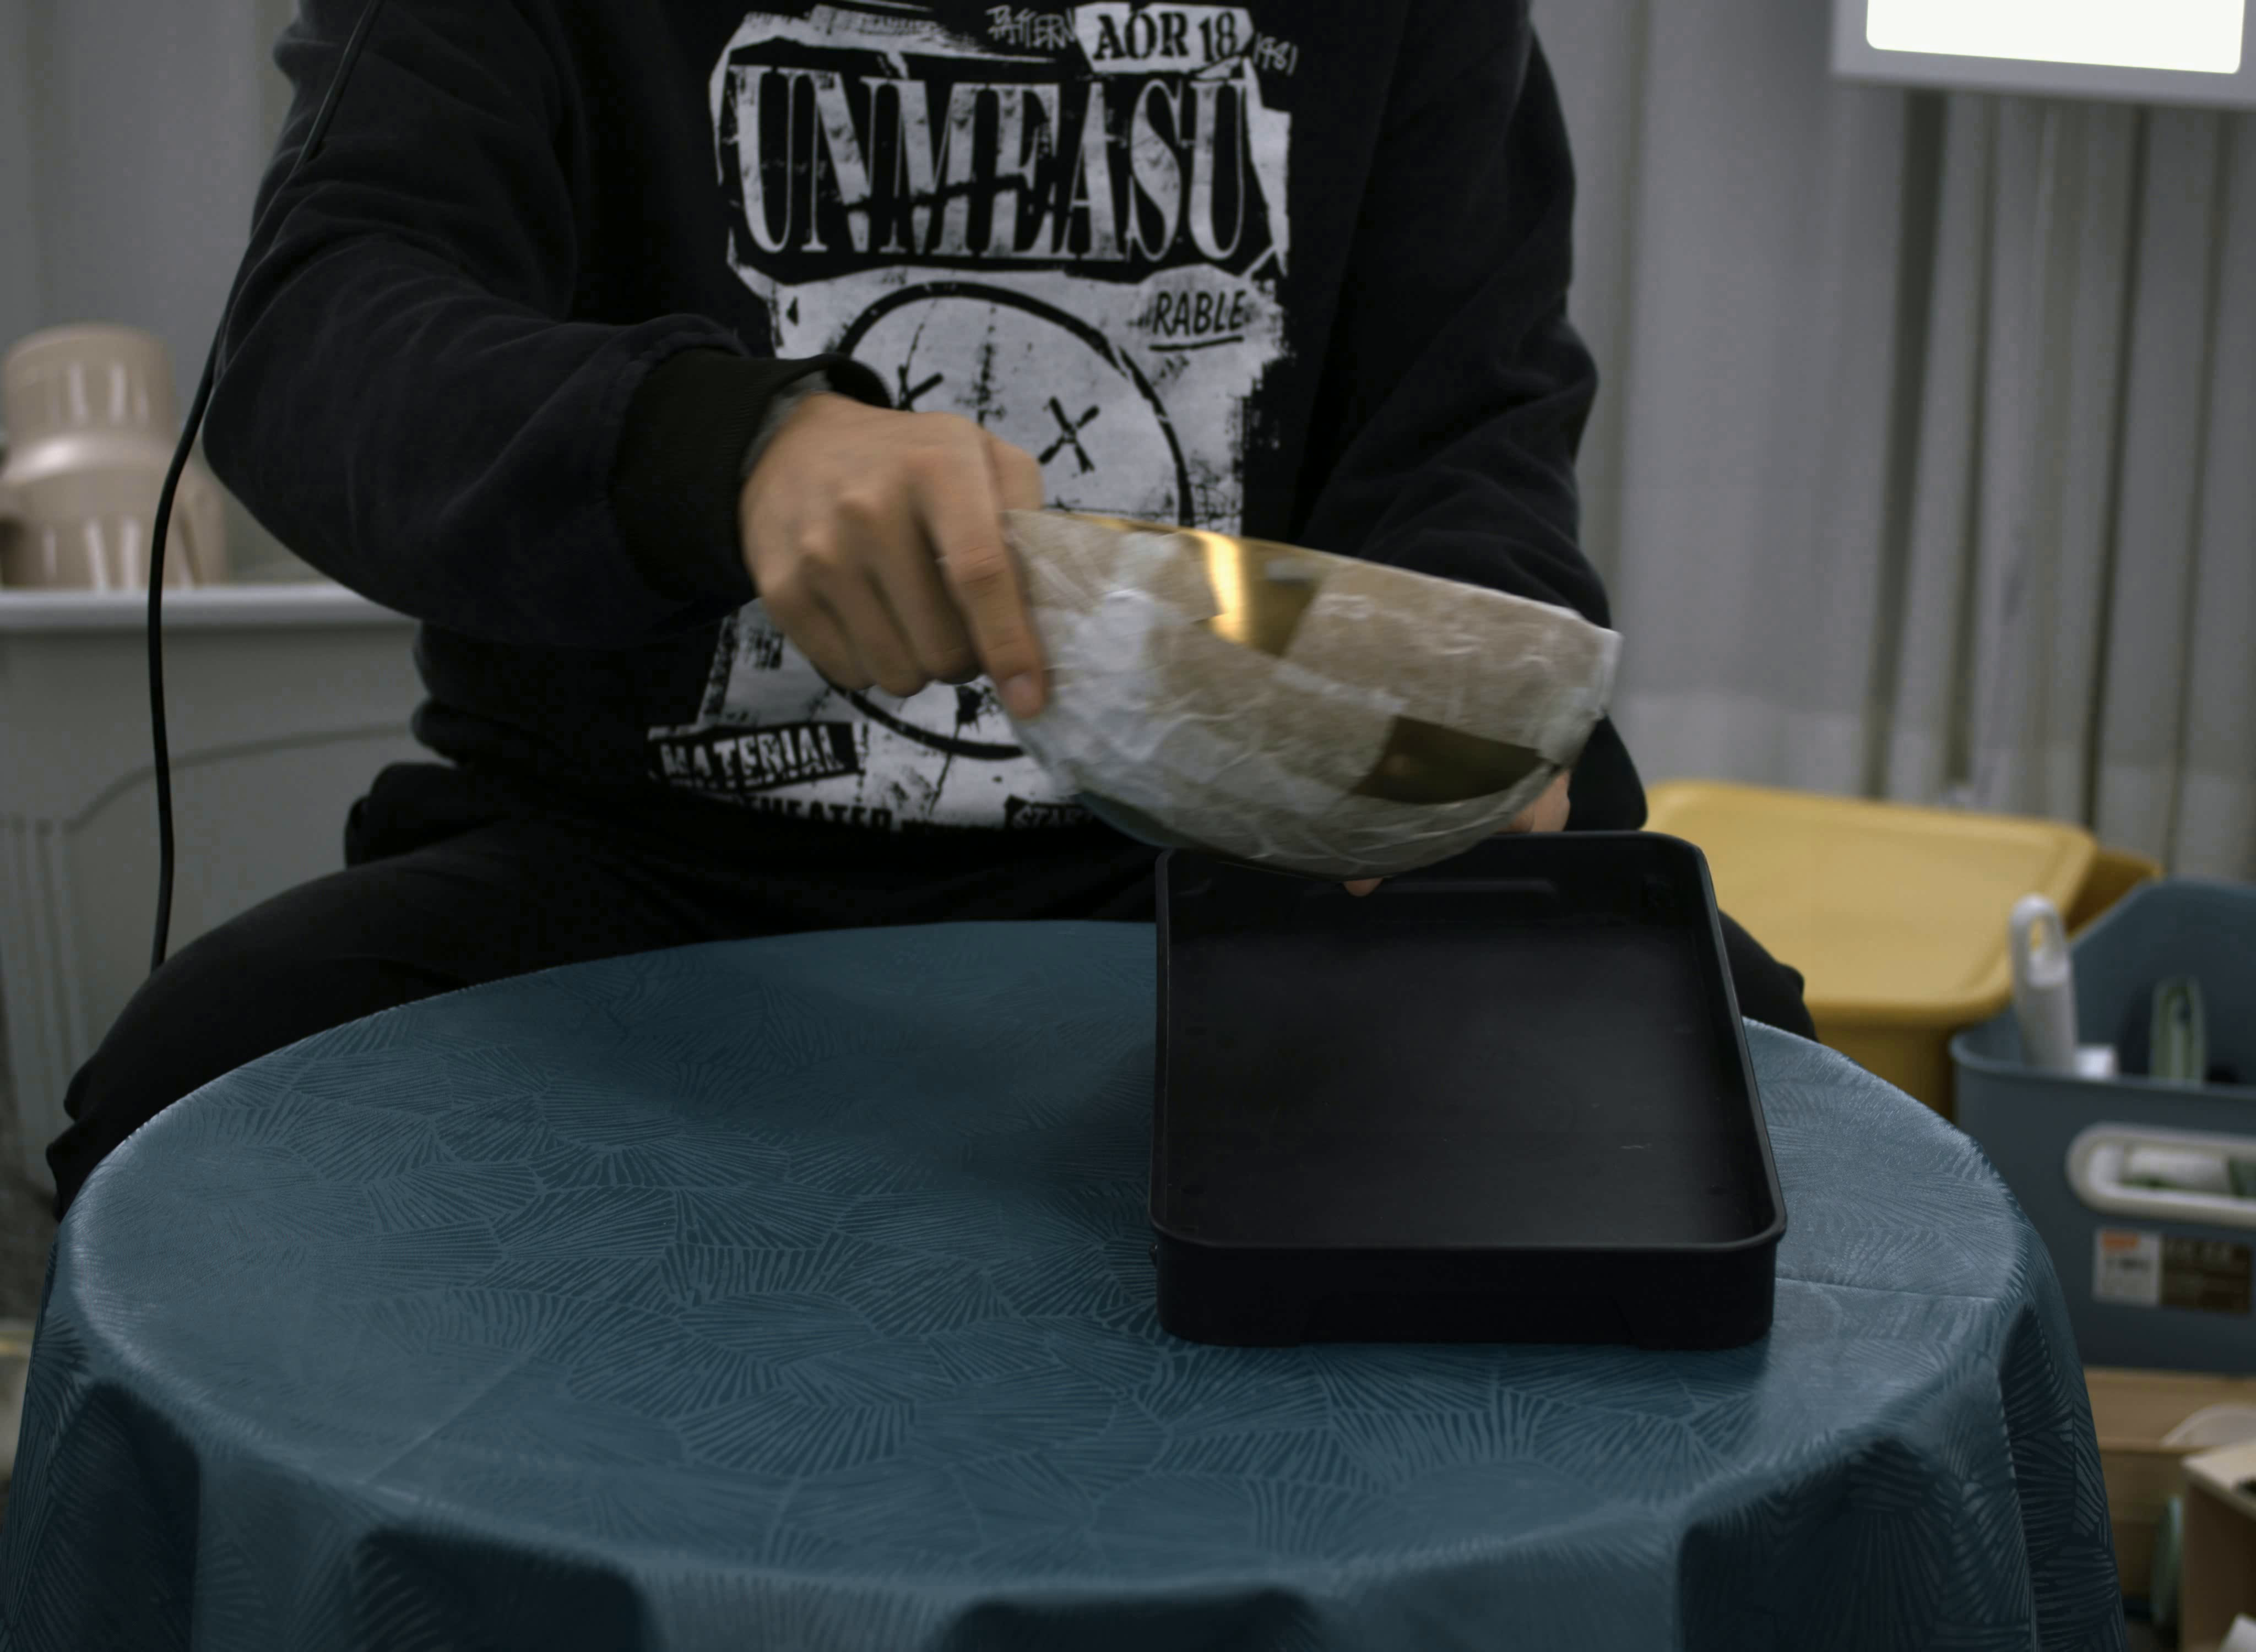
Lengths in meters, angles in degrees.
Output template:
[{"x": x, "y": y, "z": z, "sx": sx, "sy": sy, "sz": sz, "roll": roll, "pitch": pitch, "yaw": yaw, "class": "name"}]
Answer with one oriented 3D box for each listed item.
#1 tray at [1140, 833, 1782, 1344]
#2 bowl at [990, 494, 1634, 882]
[{"x": 0.099, "y": 0.075, "z": 1.634, "sx": 0.183, "sy": 0.037, "sz": 0.316, "roll": 0, "pitch": 21, "yaw": 2, "class": "tray"}, {"x": 0.047, "y": -0.034, "z": 1.634, "sx": 0.214, "sy": 0.095, "sz": 0.215, "roll": 12, "pitch": -2, "yaw": 1, "class": "bowl"}]
